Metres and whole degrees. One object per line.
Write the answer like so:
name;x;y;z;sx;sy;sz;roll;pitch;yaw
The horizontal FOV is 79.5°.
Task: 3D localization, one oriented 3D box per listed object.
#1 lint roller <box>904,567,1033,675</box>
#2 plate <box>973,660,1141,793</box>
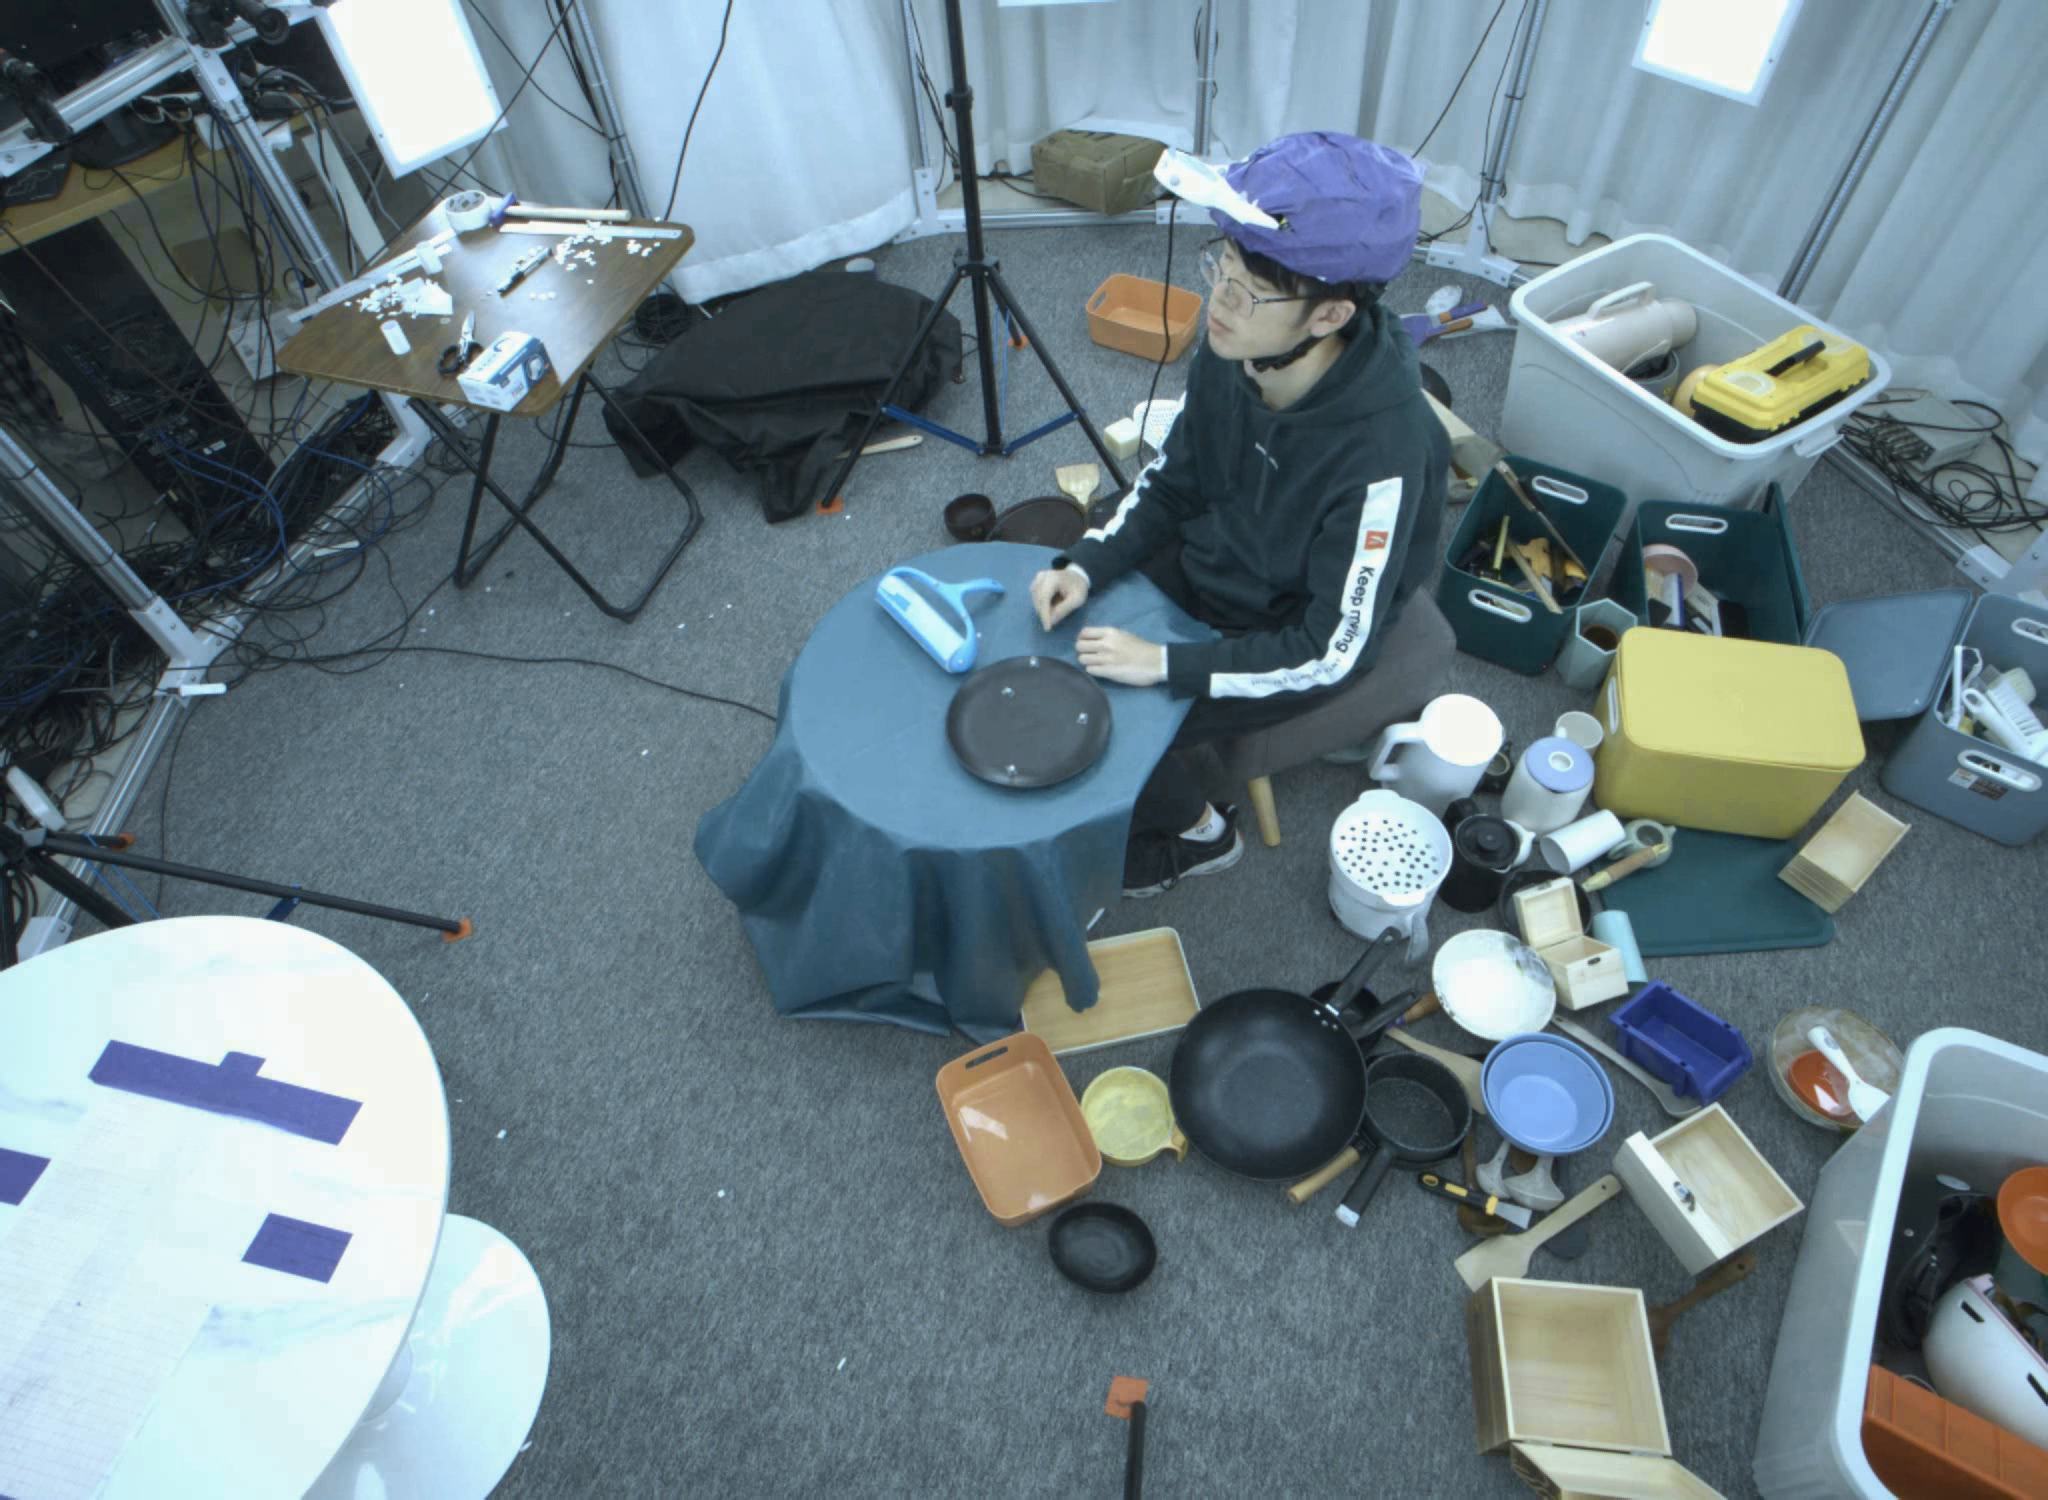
lint roller;-0.064;-0.226;1.911;0.182;0.068;0.224;-34;60;-21
plate;0.048;-0.033;1.791;0.244;0.023;0.242;0;54;1
